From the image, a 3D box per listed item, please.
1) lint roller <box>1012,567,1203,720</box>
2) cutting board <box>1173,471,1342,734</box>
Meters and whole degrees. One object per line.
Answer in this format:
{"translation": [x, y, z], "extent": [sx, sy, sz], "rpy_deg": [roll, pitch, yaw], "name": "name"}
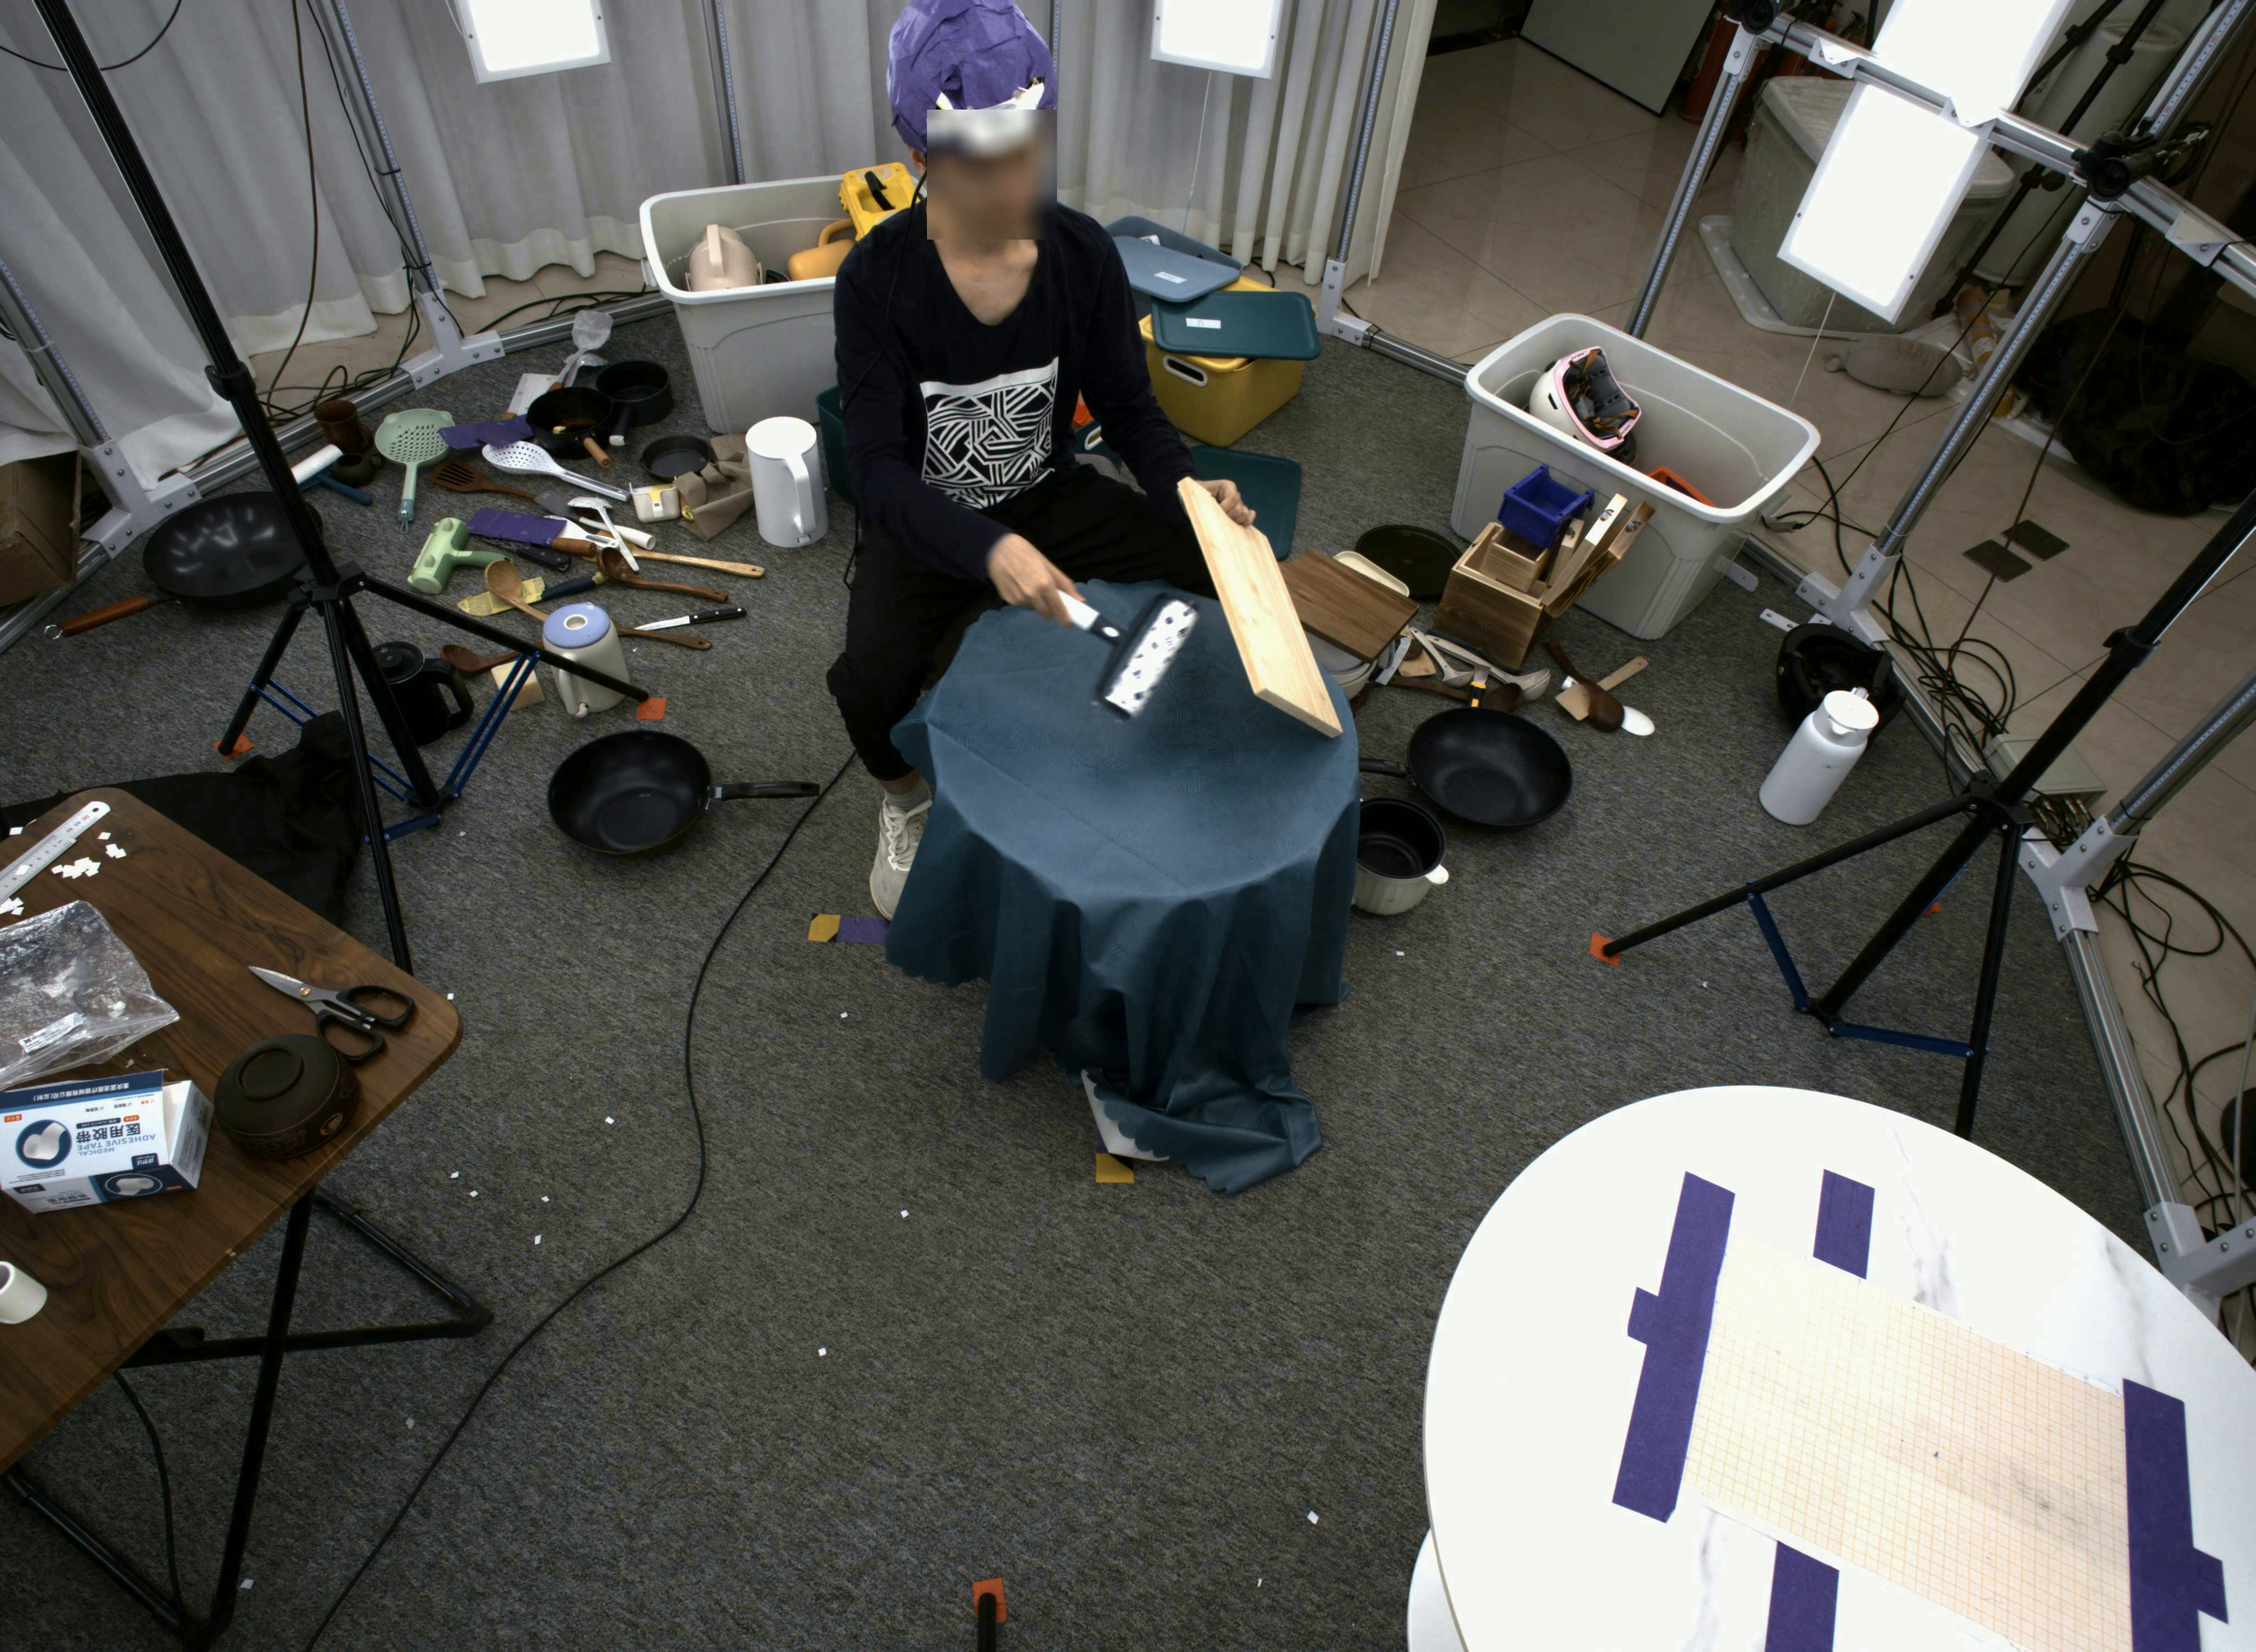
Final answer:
{"translation": [-0.047, -0.274, 1.700], "extent": [0.247, 0.050, 0.176], "rpy_deg": [30, 93, 4], "name": "lint roller"}
{"translation": [0.179, -0.302, 1.766], "extent": [0.023, 0.248, 0.355], "rpy_deg": [-29, 65, 26], "name": "cutting board"}
